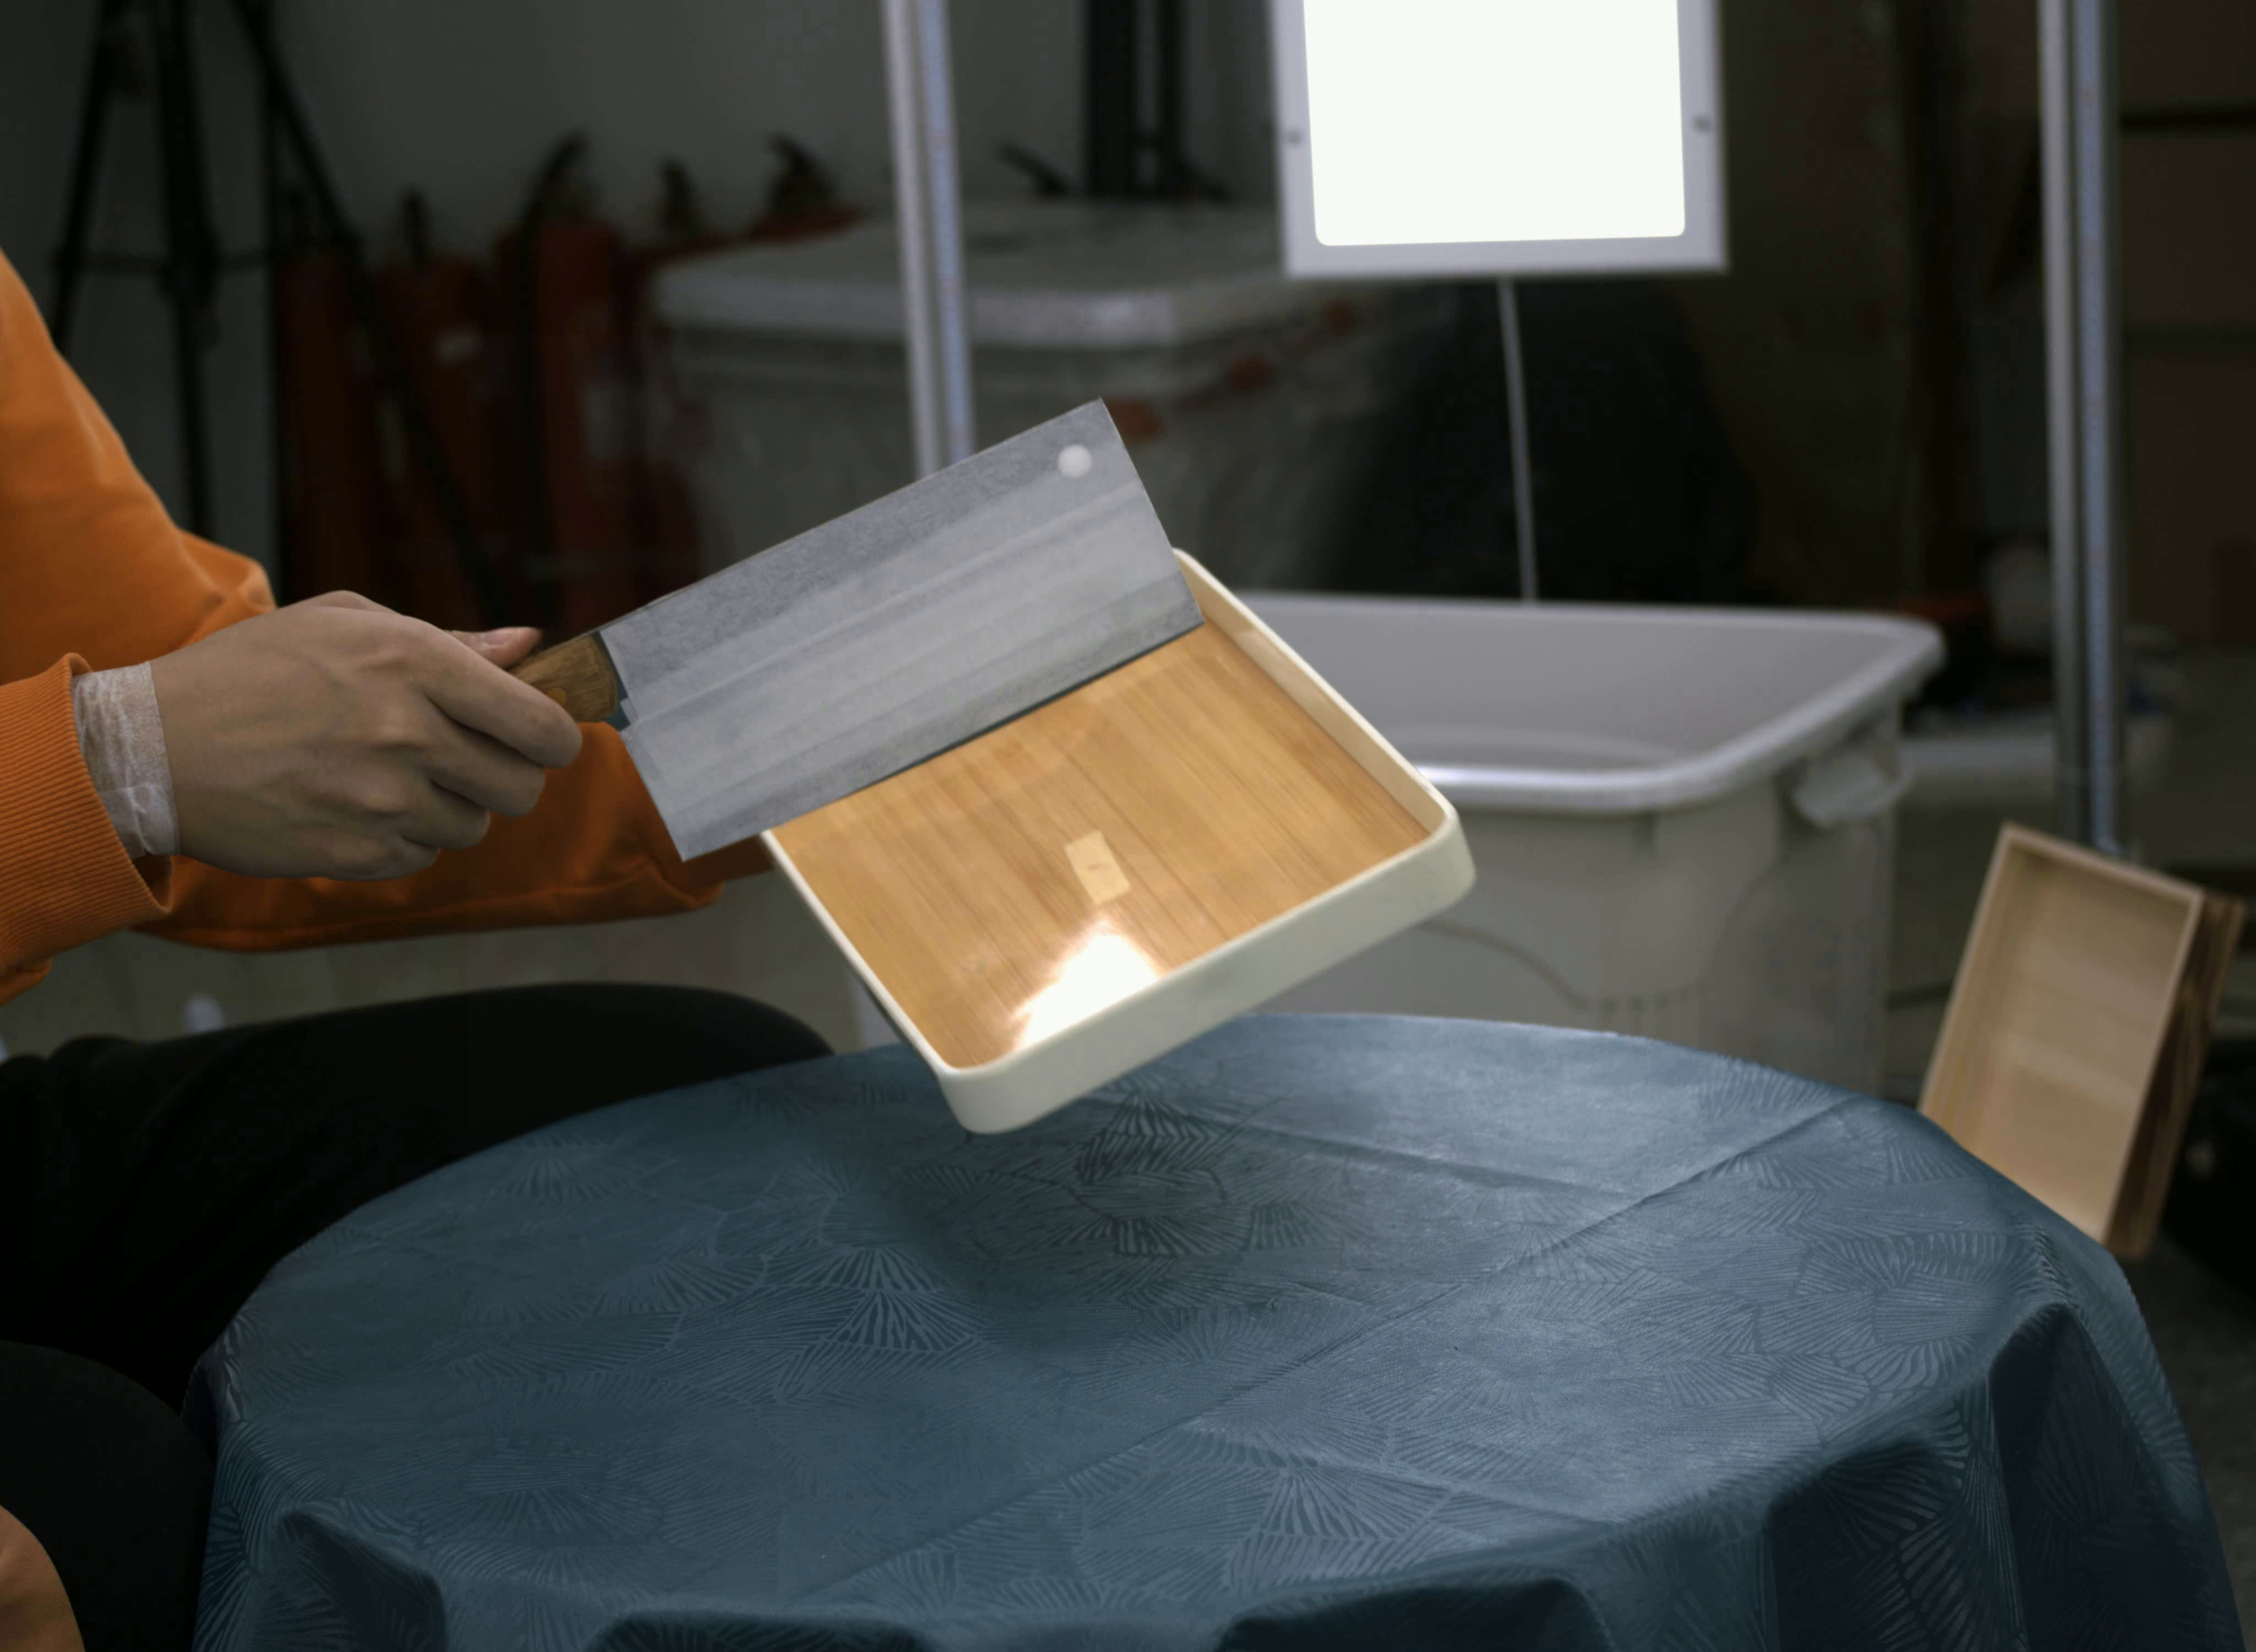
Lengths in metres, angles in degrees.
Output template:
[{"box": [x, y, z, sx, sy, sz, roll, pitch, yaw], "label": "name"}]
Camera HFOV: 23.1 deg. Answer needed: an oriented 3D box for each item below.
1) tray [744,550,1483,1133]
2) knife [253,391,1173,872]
[{"box": [-0.014, -0.001, 1.883, 0.190, 0.027, 0.303, -27, 27, -7], "label": "tray"}, {"box": [-0.131, -0.042, 1.785, 0.306, 0.092, 0.021, -25, 27, 6], "label": "knife"}]
